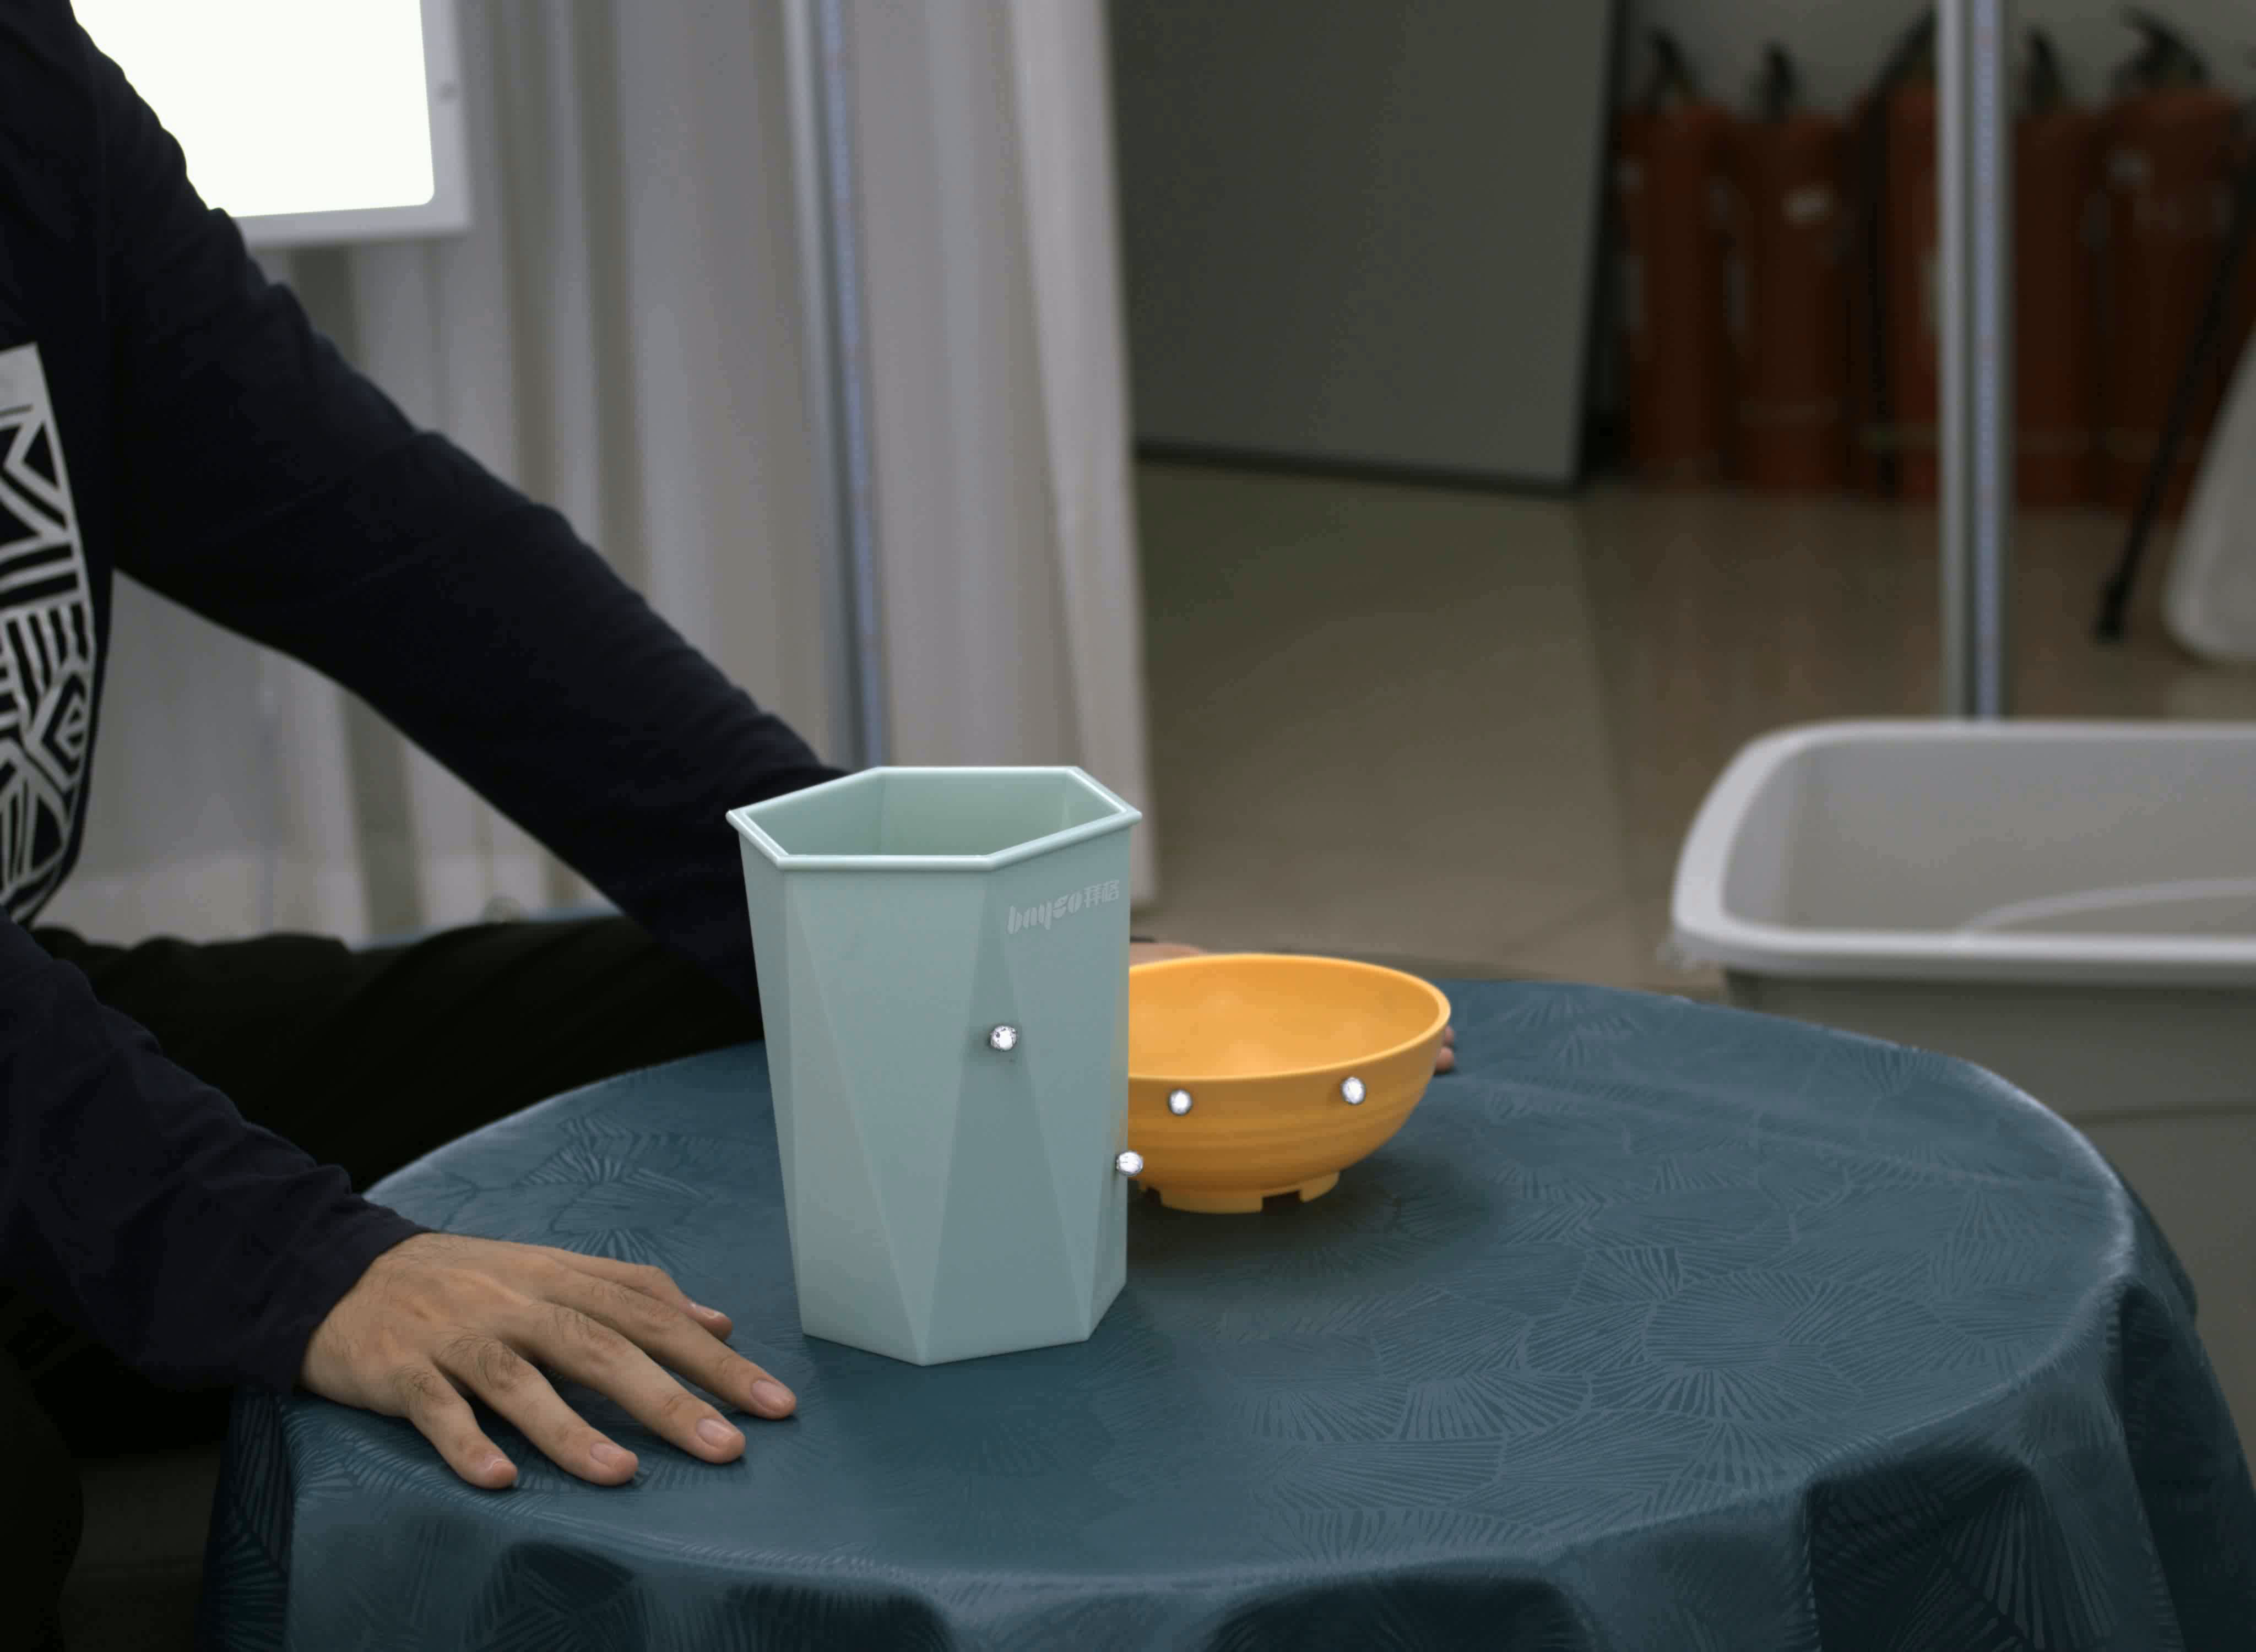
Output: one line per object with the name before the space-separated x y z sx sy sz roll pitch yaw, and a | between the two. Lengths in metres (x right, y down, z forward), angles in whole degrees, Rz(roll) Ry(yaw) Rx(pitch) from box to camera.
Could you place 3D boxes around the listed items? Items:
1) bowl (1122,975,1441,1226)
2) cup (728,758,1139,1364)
bowl | 0.033 0.094 1.769 0.143 0.061 0.145 -4 11 0
cup | -0.054 0.071 1.651 0.116 0.165 0.128 7 16 42
